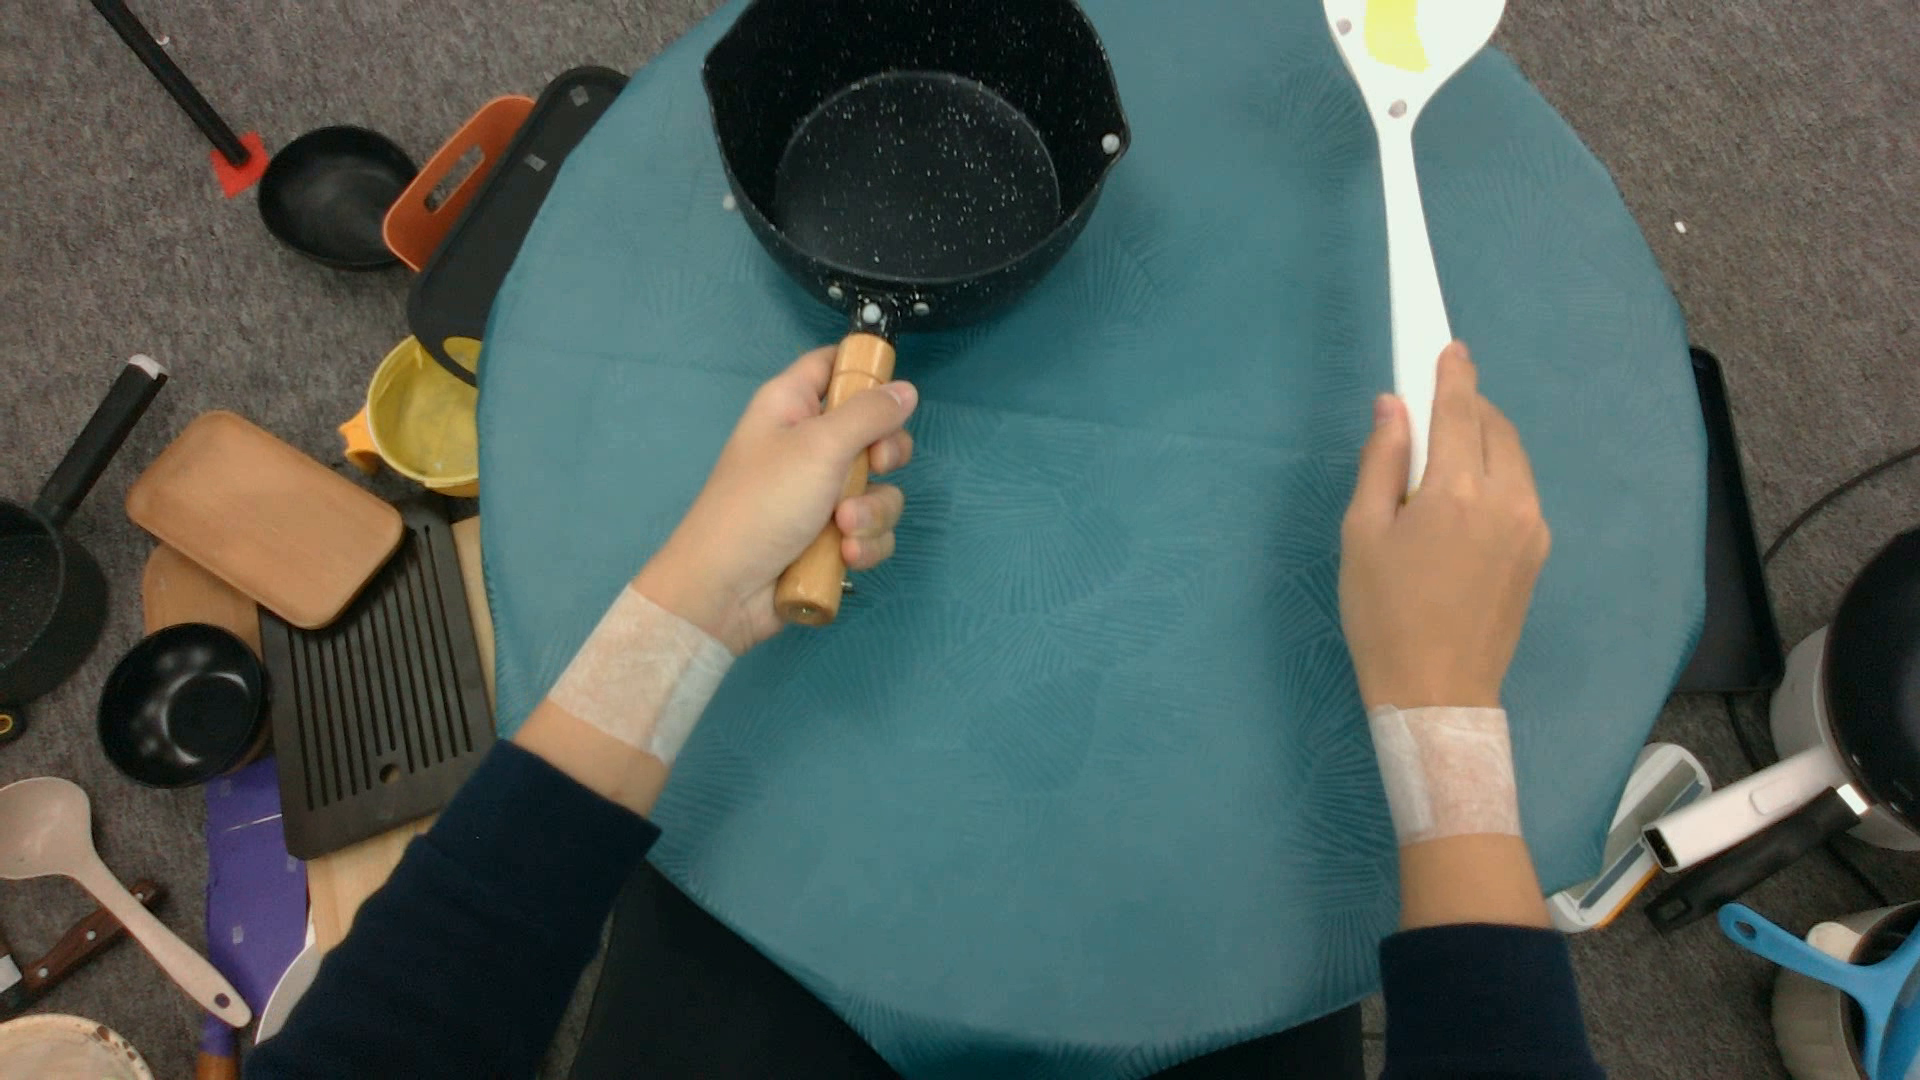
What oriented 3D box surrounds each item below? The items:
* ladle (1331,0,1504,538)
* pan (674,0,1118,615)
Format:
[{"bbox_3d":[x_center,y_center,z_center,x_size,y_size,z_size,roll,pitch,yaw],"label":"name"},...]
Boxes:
[{"bbox_3d":[0.212,-0.149,0.631,0.090,0.069,0.294,8,68,-11],"label":"ladle"},{"bbox_3d":[-0.040,-0.119,0.634,0.207,0.108,0.344,8,72,1],"label":"pan"}]
